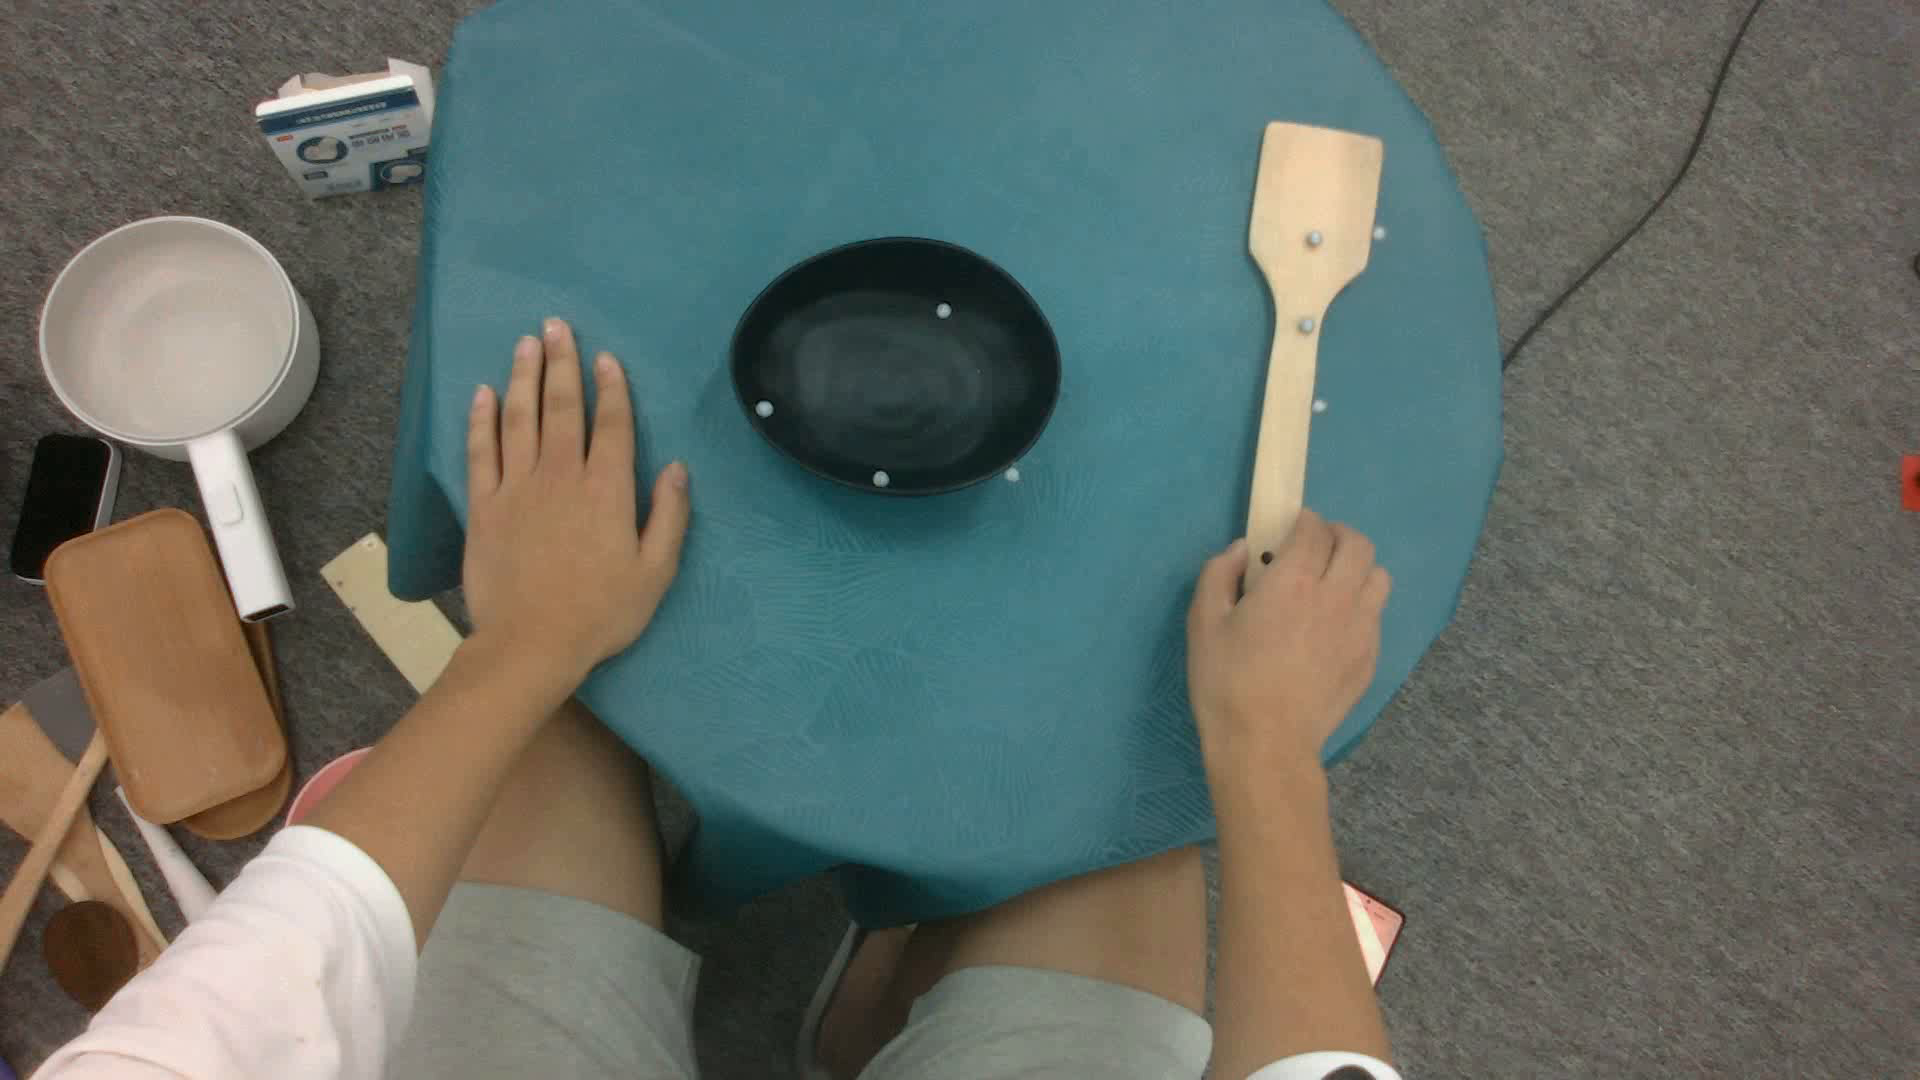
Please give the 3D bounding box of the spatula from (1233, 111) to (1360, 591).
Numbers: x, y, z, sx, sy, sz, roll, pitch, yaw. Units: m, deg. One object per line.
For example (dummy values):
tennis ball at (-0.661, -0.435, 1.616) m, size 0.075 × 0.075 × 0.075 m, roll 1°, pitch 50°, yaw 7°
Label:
spatula at (0.188, -0.112, 0.775) m, size 0.072 × 0.010 × 0.294 m, roll 1°, pitch 73°, yaw 14°

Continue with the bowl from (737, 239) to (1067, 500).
bowl at (-0.032, -0.083, 0.730) m, size 0.170 × 0.066 × 0.137 m, roll -1°, pitch 79°, yaw -6°
